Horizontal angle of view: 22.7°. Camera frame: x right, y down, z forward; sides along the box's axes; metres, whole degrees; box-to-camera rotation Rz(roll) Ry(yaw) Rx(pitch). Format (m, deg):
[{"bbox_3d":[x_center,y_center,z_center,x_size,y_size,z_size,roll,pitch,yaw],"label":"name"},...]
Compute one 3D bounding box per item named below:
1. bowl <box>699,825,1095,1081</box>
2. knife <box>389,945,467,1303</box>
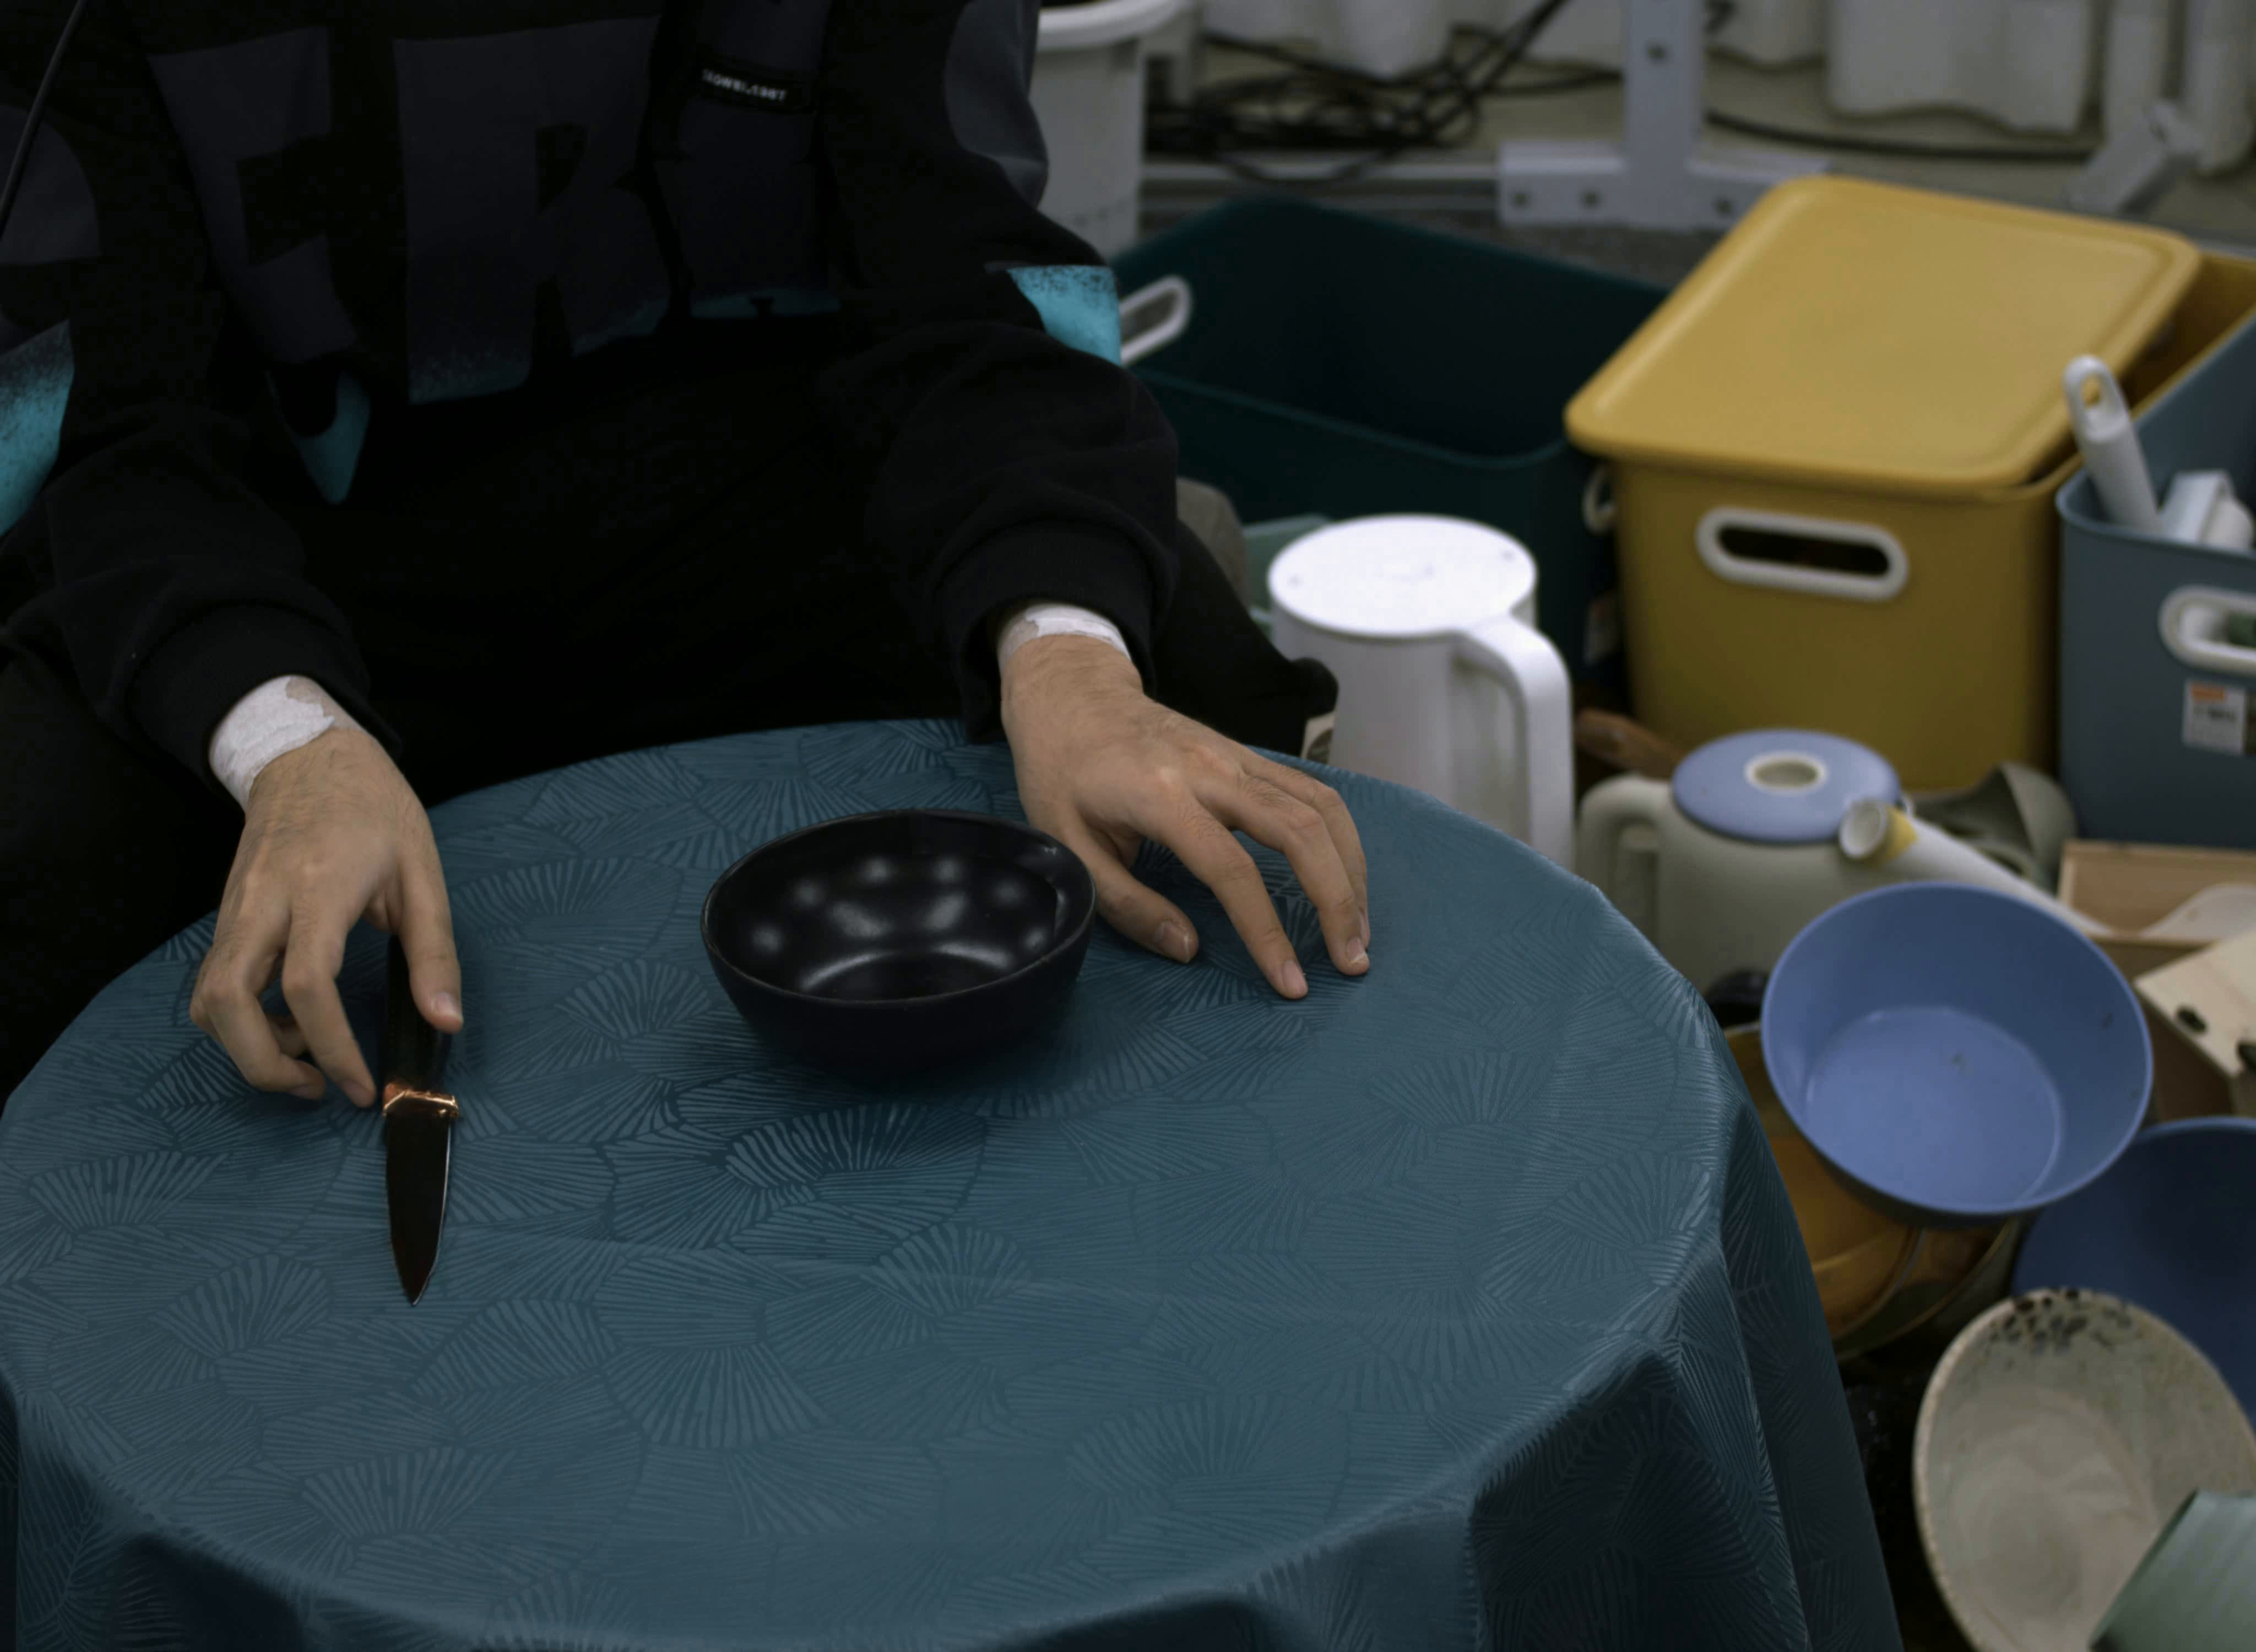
[{"bbox_3d":[-0.078,0.051,1.959,0.139,0.049,0.142,-5,24,3],"label":"bowl"},{"bbox_3d":[-0.238,0.101,1.914,0.026,0.017,0.228,-3,29,-6],"label":"knife"}]
